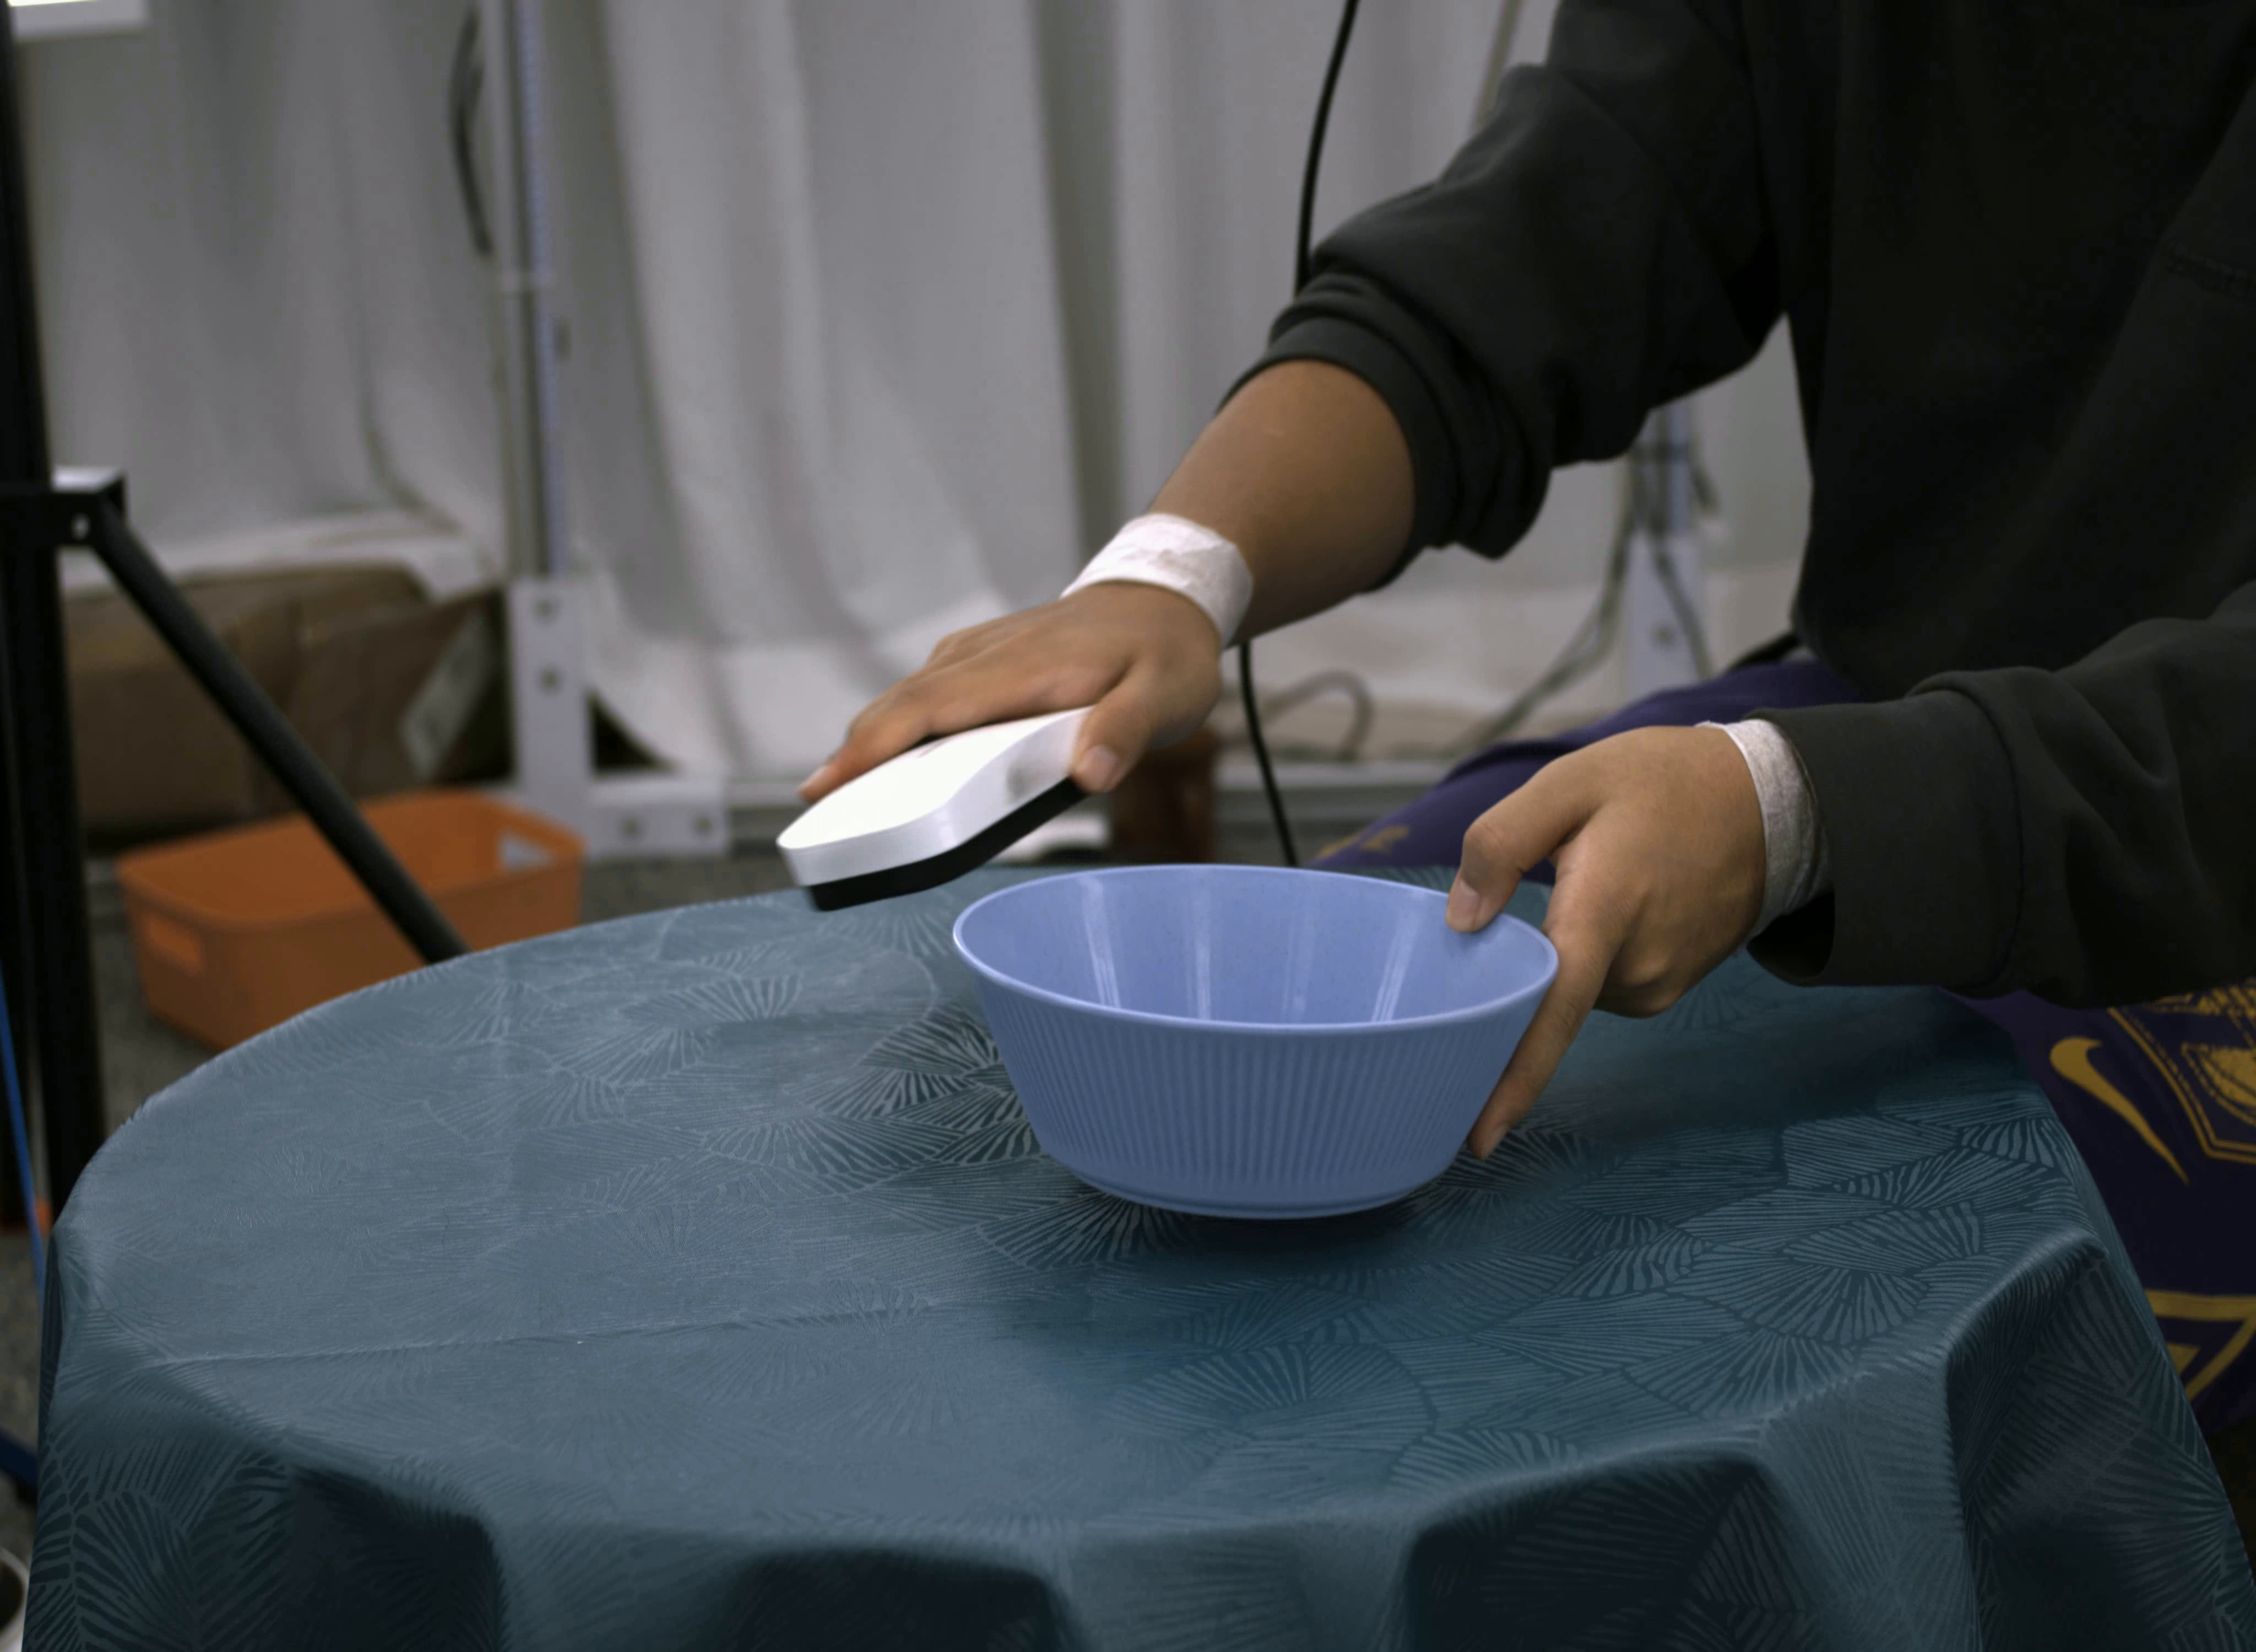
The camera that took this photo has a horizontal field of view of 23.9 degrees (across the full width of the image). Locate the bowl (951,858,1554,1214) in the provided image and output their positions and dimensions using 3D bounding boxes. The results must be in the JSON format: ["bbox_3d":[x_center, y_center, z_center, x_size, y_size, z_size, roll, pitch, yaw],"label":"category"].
[{"bbox_3d":[0.034,0.063,1.542,0.175,0.070,0.177,2,15,-2],"label":"bowl"}]

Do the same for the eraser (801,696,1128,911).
[{"bbox_3d":[-0.048,-0.011,1.659,0.064,0.034,0.129,-12,13,30],"label":"eraser"}]
